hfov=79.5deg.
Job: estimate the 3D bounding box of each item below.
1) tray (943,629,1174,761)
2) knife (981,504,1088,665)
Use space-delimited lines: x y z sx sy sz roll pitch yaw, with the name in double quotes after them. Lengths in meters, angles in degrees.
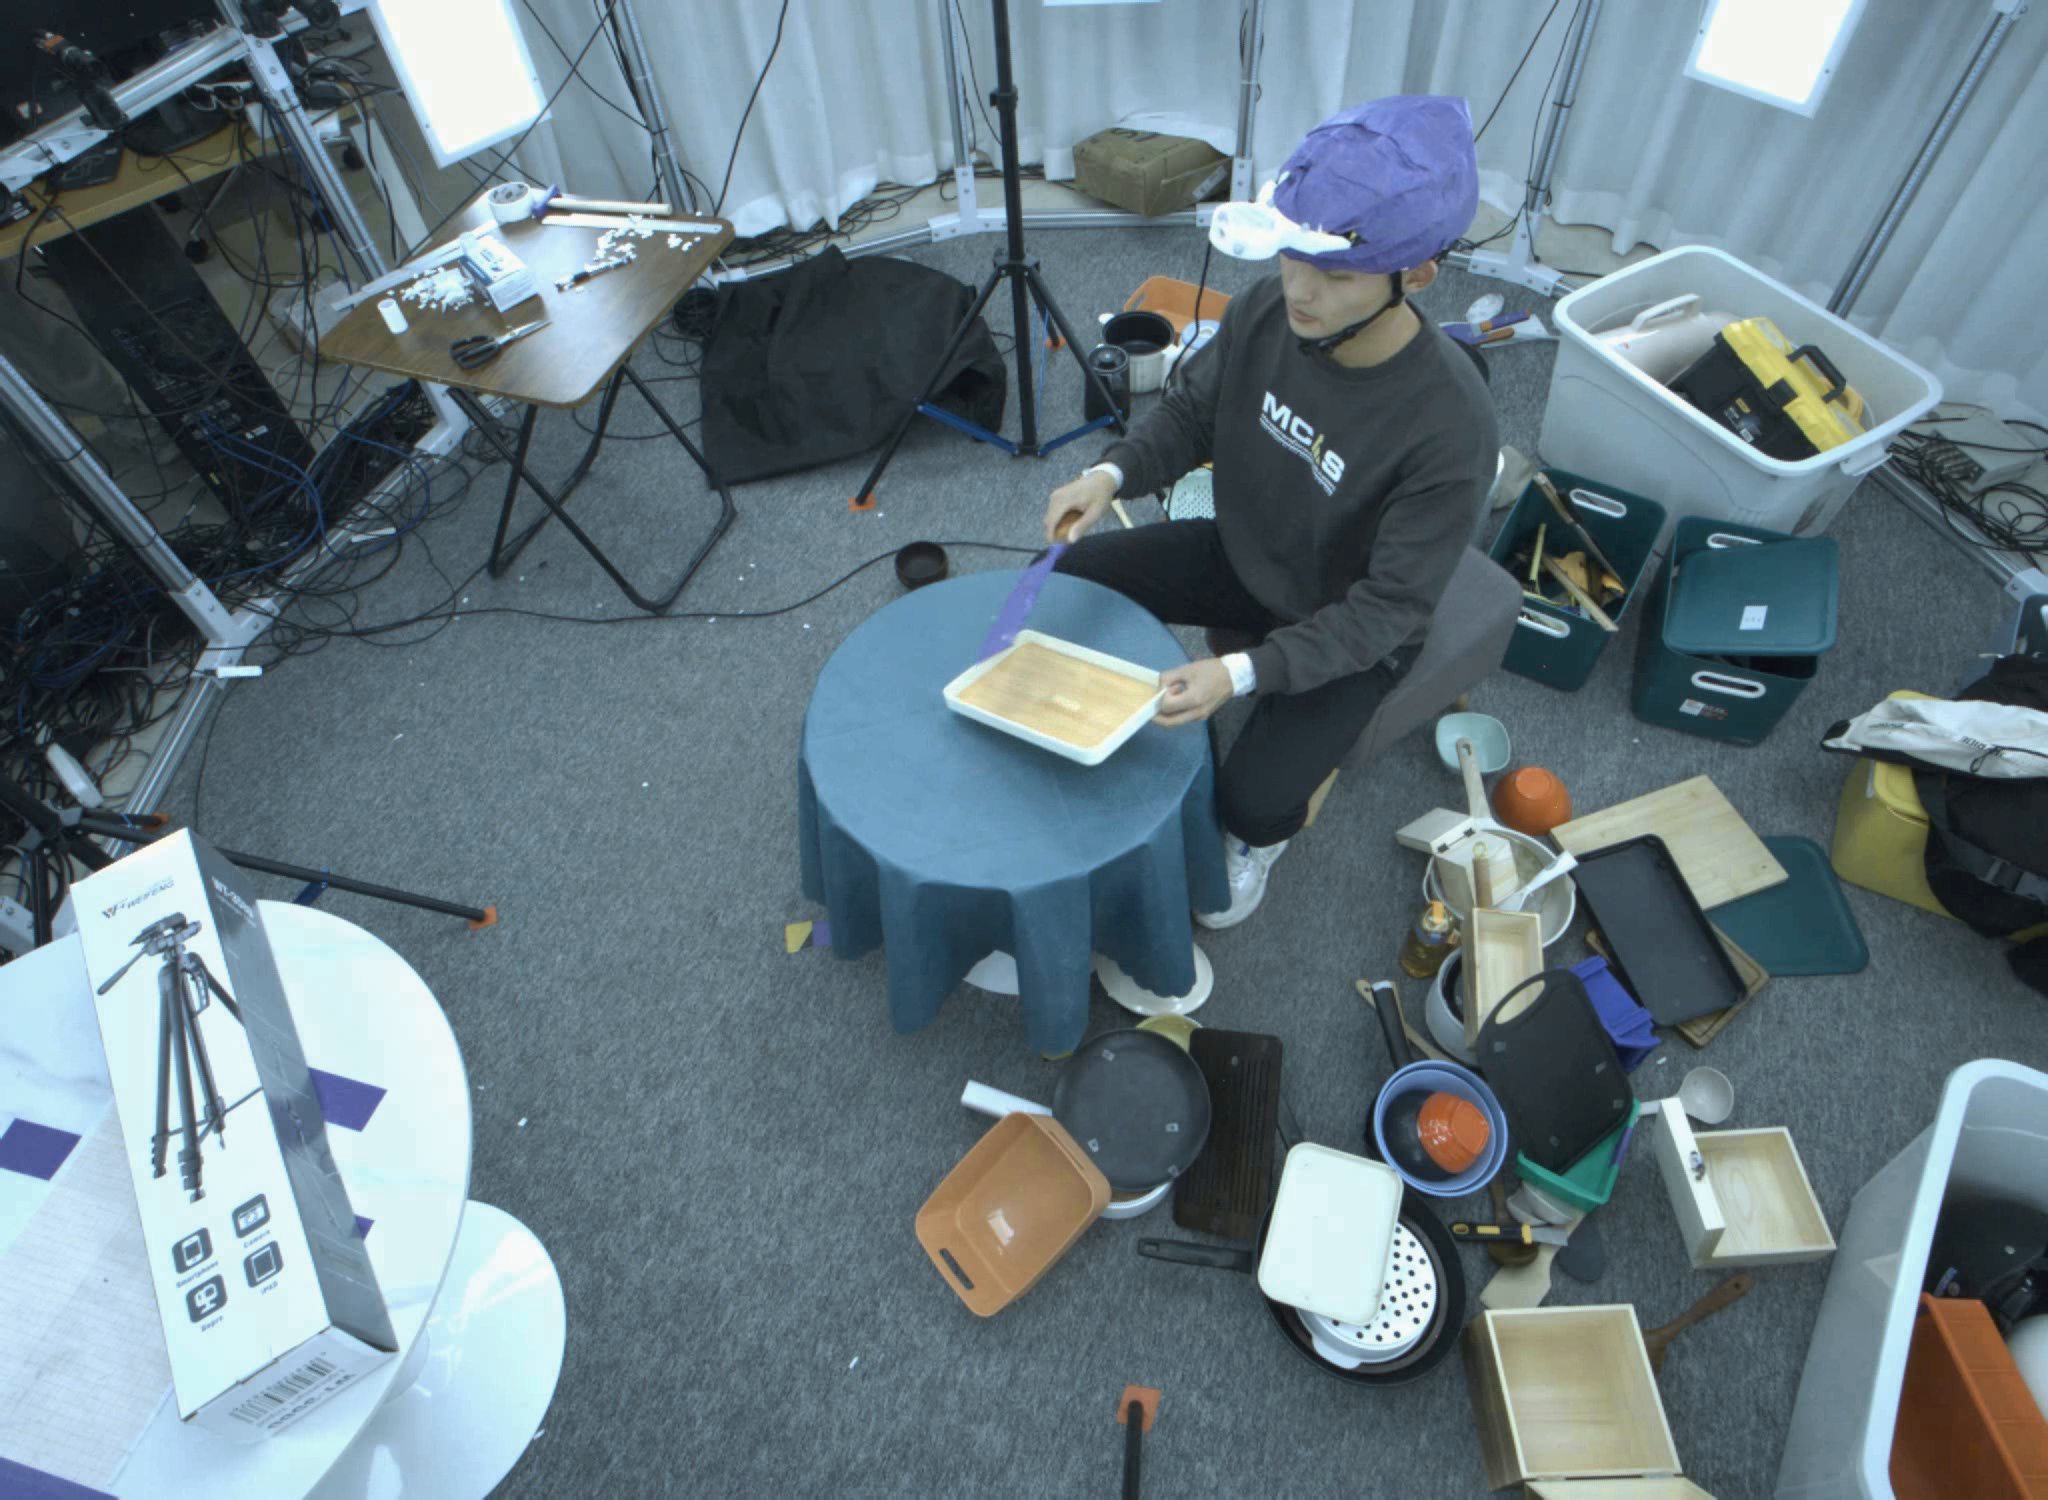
0.047 -0.085 1.771 0.293 0.028 0.193 23 49 37 "tray"
0.011 -0.244 1.781 0.033 0.102 0.315 44 48 -21 "knife"
